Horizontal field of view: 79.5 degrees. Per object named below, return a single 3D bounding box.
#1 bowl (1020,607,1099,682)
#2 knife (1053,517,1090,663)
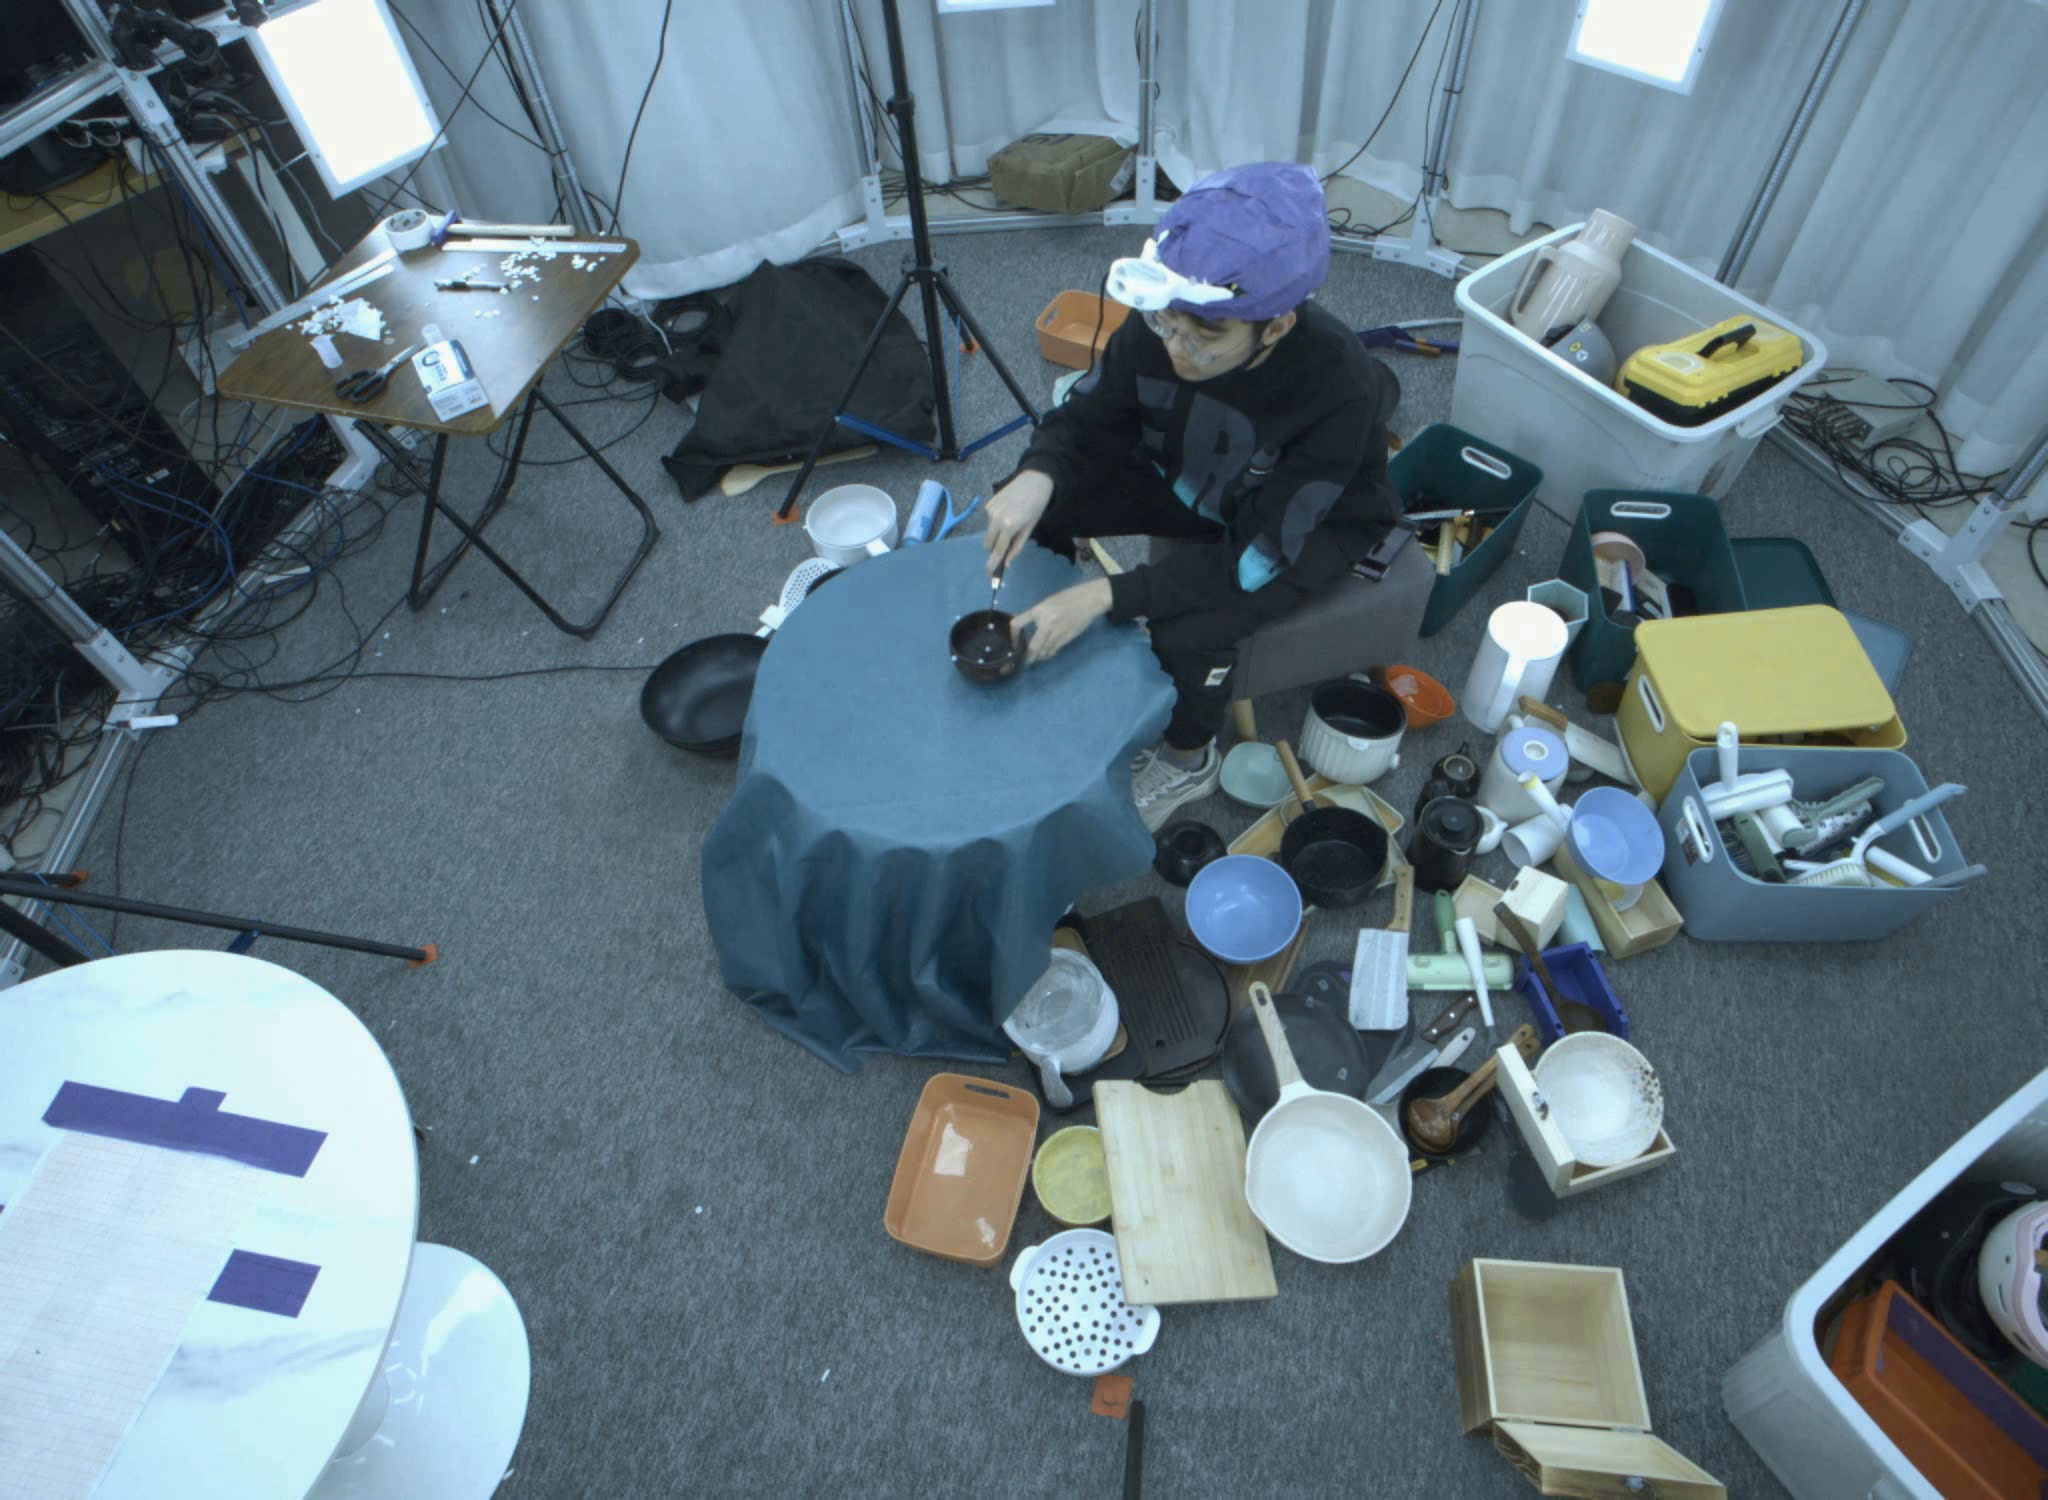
[{"bbox_3d":[0.053,-0.149,1.843,0.118,0.070,0.117,1,54,0],"label":"bowl"},{"bbox_3d":[0.068,-0.237,1.835,0.017,0.026,0.226,12,100,-2],"label":"knife"}]
